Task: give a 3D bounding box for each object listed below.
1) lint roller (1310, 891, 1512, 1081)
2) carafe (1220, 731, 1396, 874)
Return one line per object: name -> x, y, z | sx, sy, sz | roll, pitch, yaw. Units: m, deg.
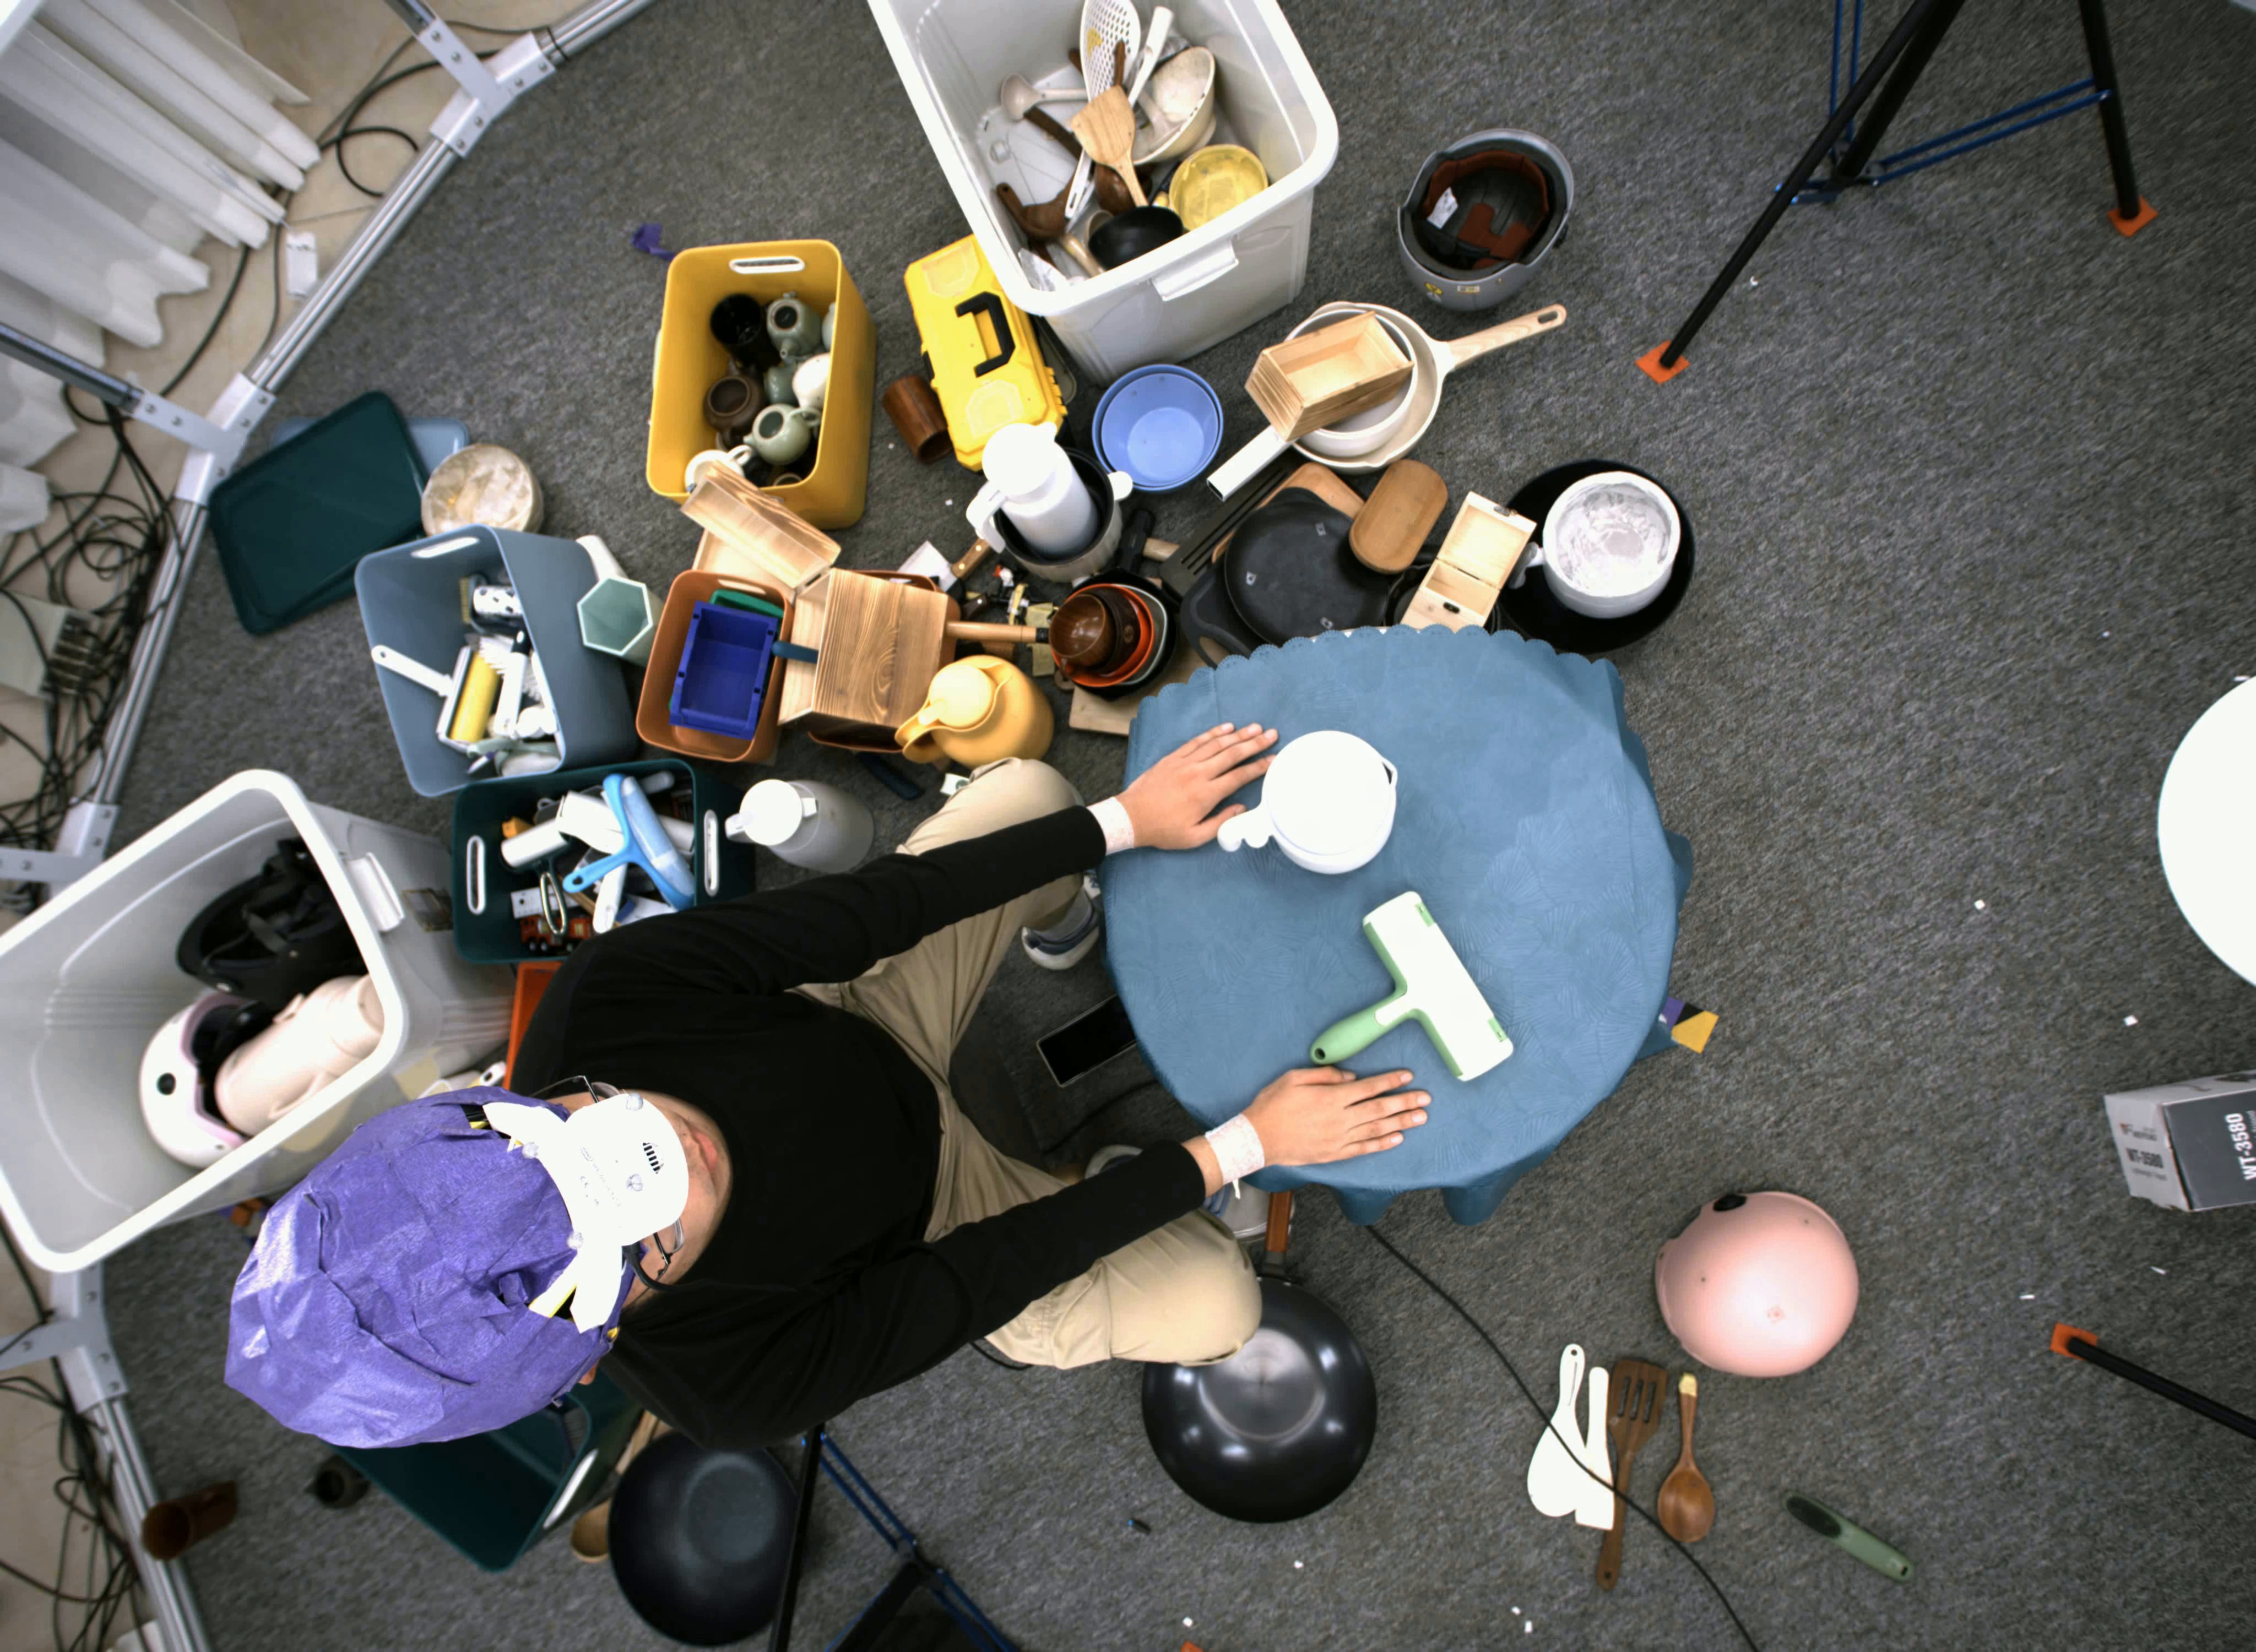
lint roller -> 0.266, 0.191, 1.416 | 0.184, 0.082, 0.197 | -31, 80, 5
carafe -> 0.181, -0.014, 1.394 | 0.192, 0.182, 0.131 | -21, 81, 10
